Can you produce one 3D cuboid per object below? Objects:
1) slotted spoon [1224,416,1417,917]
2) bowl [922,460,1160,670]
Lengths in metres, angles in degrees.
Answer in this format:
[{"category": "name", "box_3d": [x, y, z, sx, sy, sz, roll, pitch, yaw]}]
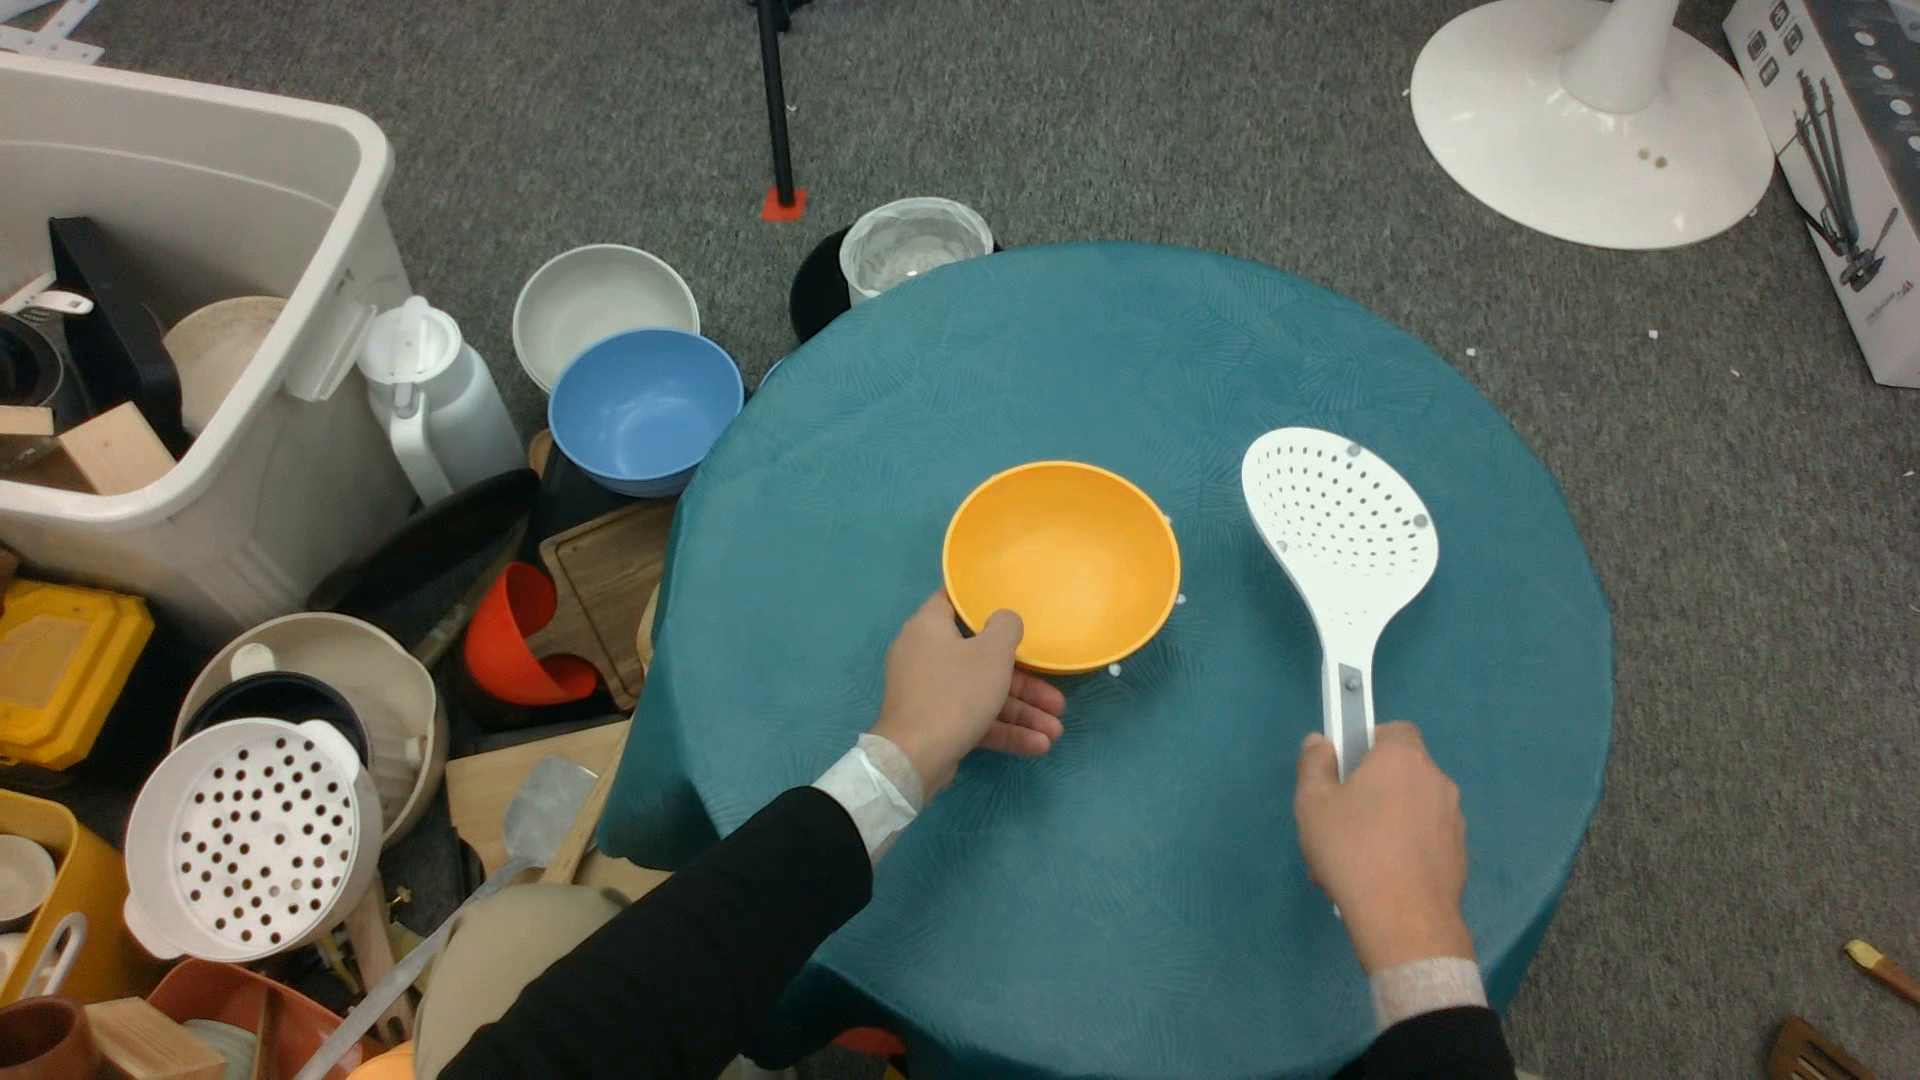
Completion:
[{"category": "slotted spoon", "box_3d": [0.213, 0.057, 0.806, 0.136, 0.045, 0.351, 18, 43, -9]}, {"category": "bowl", "box_3d": [0.048, 0.025, 0.852, 0.145, 0.060, 0.146, 1, 58, -1]}]
